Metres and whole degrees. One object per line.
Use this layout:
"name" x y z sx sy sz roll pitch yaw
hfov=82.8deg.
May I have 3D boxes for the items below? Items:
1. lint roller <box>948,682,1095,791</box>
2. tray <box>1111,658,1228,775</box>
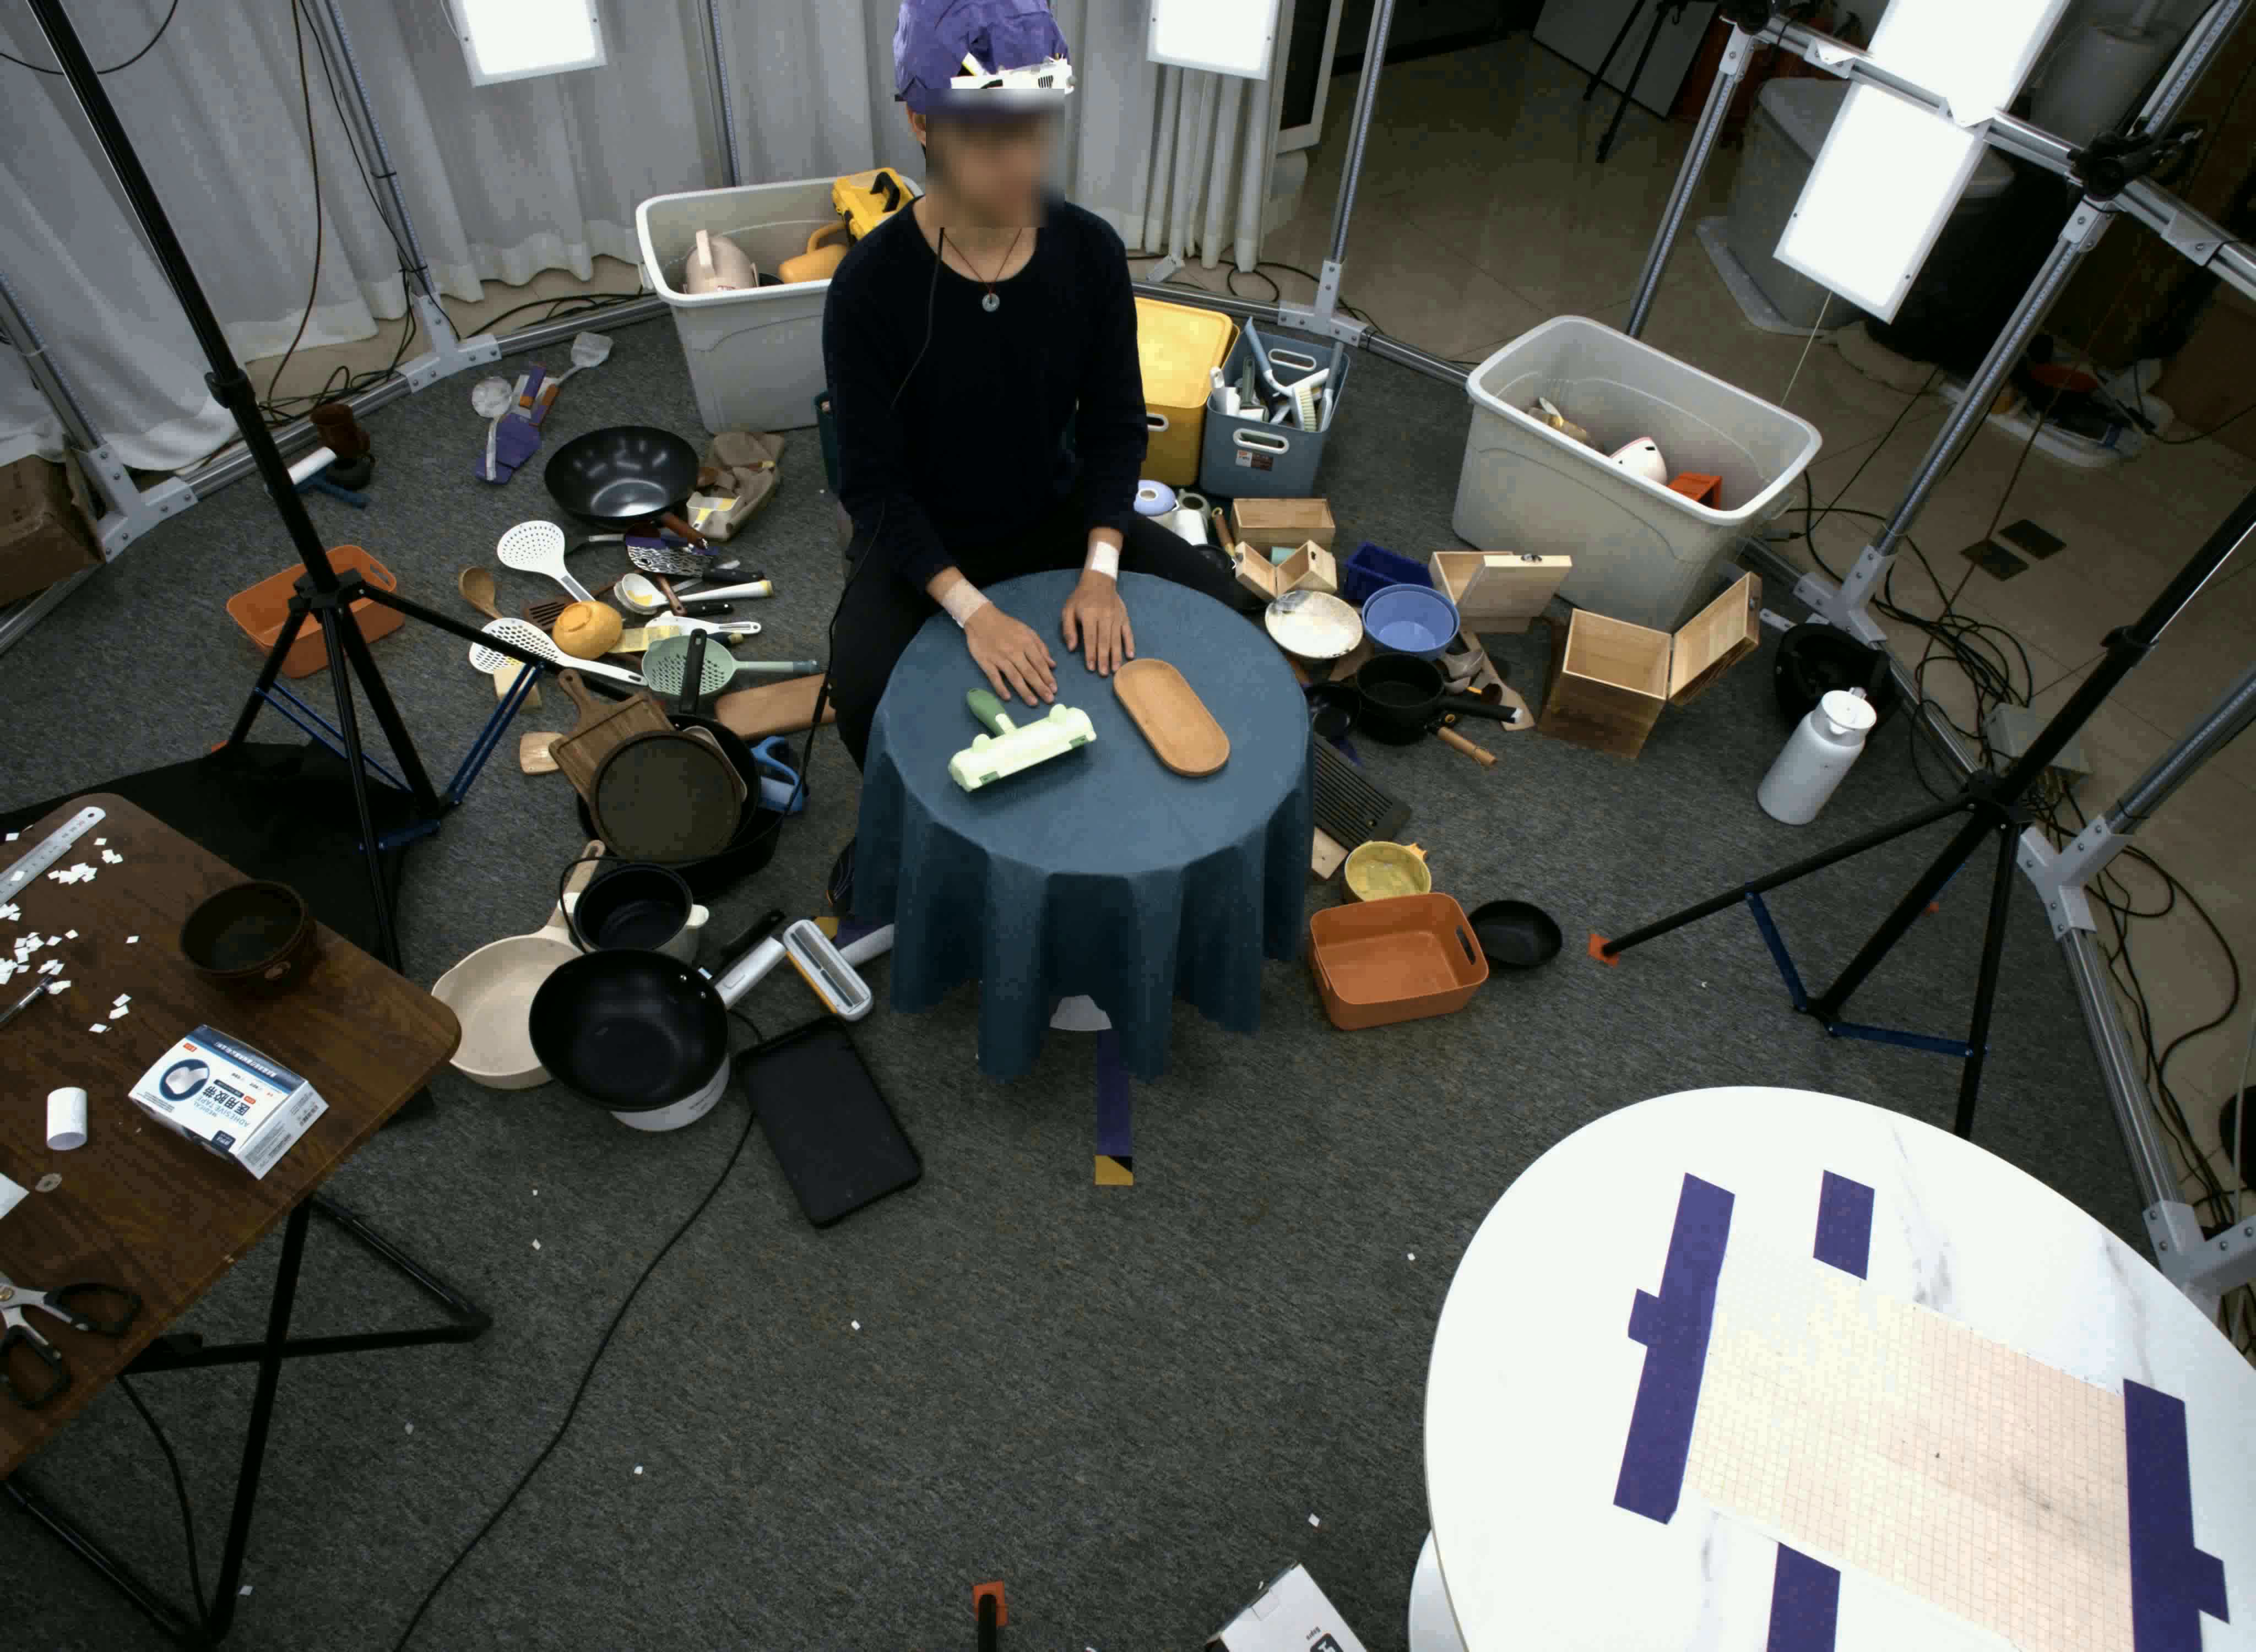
"lint roller" -0.170 -0.149 1.730 0.199 0.080 0.187 -24 60 -23
"tray" 0.057 -0.156 1.797 0.102 0.020 0.236 -19 52 -20
